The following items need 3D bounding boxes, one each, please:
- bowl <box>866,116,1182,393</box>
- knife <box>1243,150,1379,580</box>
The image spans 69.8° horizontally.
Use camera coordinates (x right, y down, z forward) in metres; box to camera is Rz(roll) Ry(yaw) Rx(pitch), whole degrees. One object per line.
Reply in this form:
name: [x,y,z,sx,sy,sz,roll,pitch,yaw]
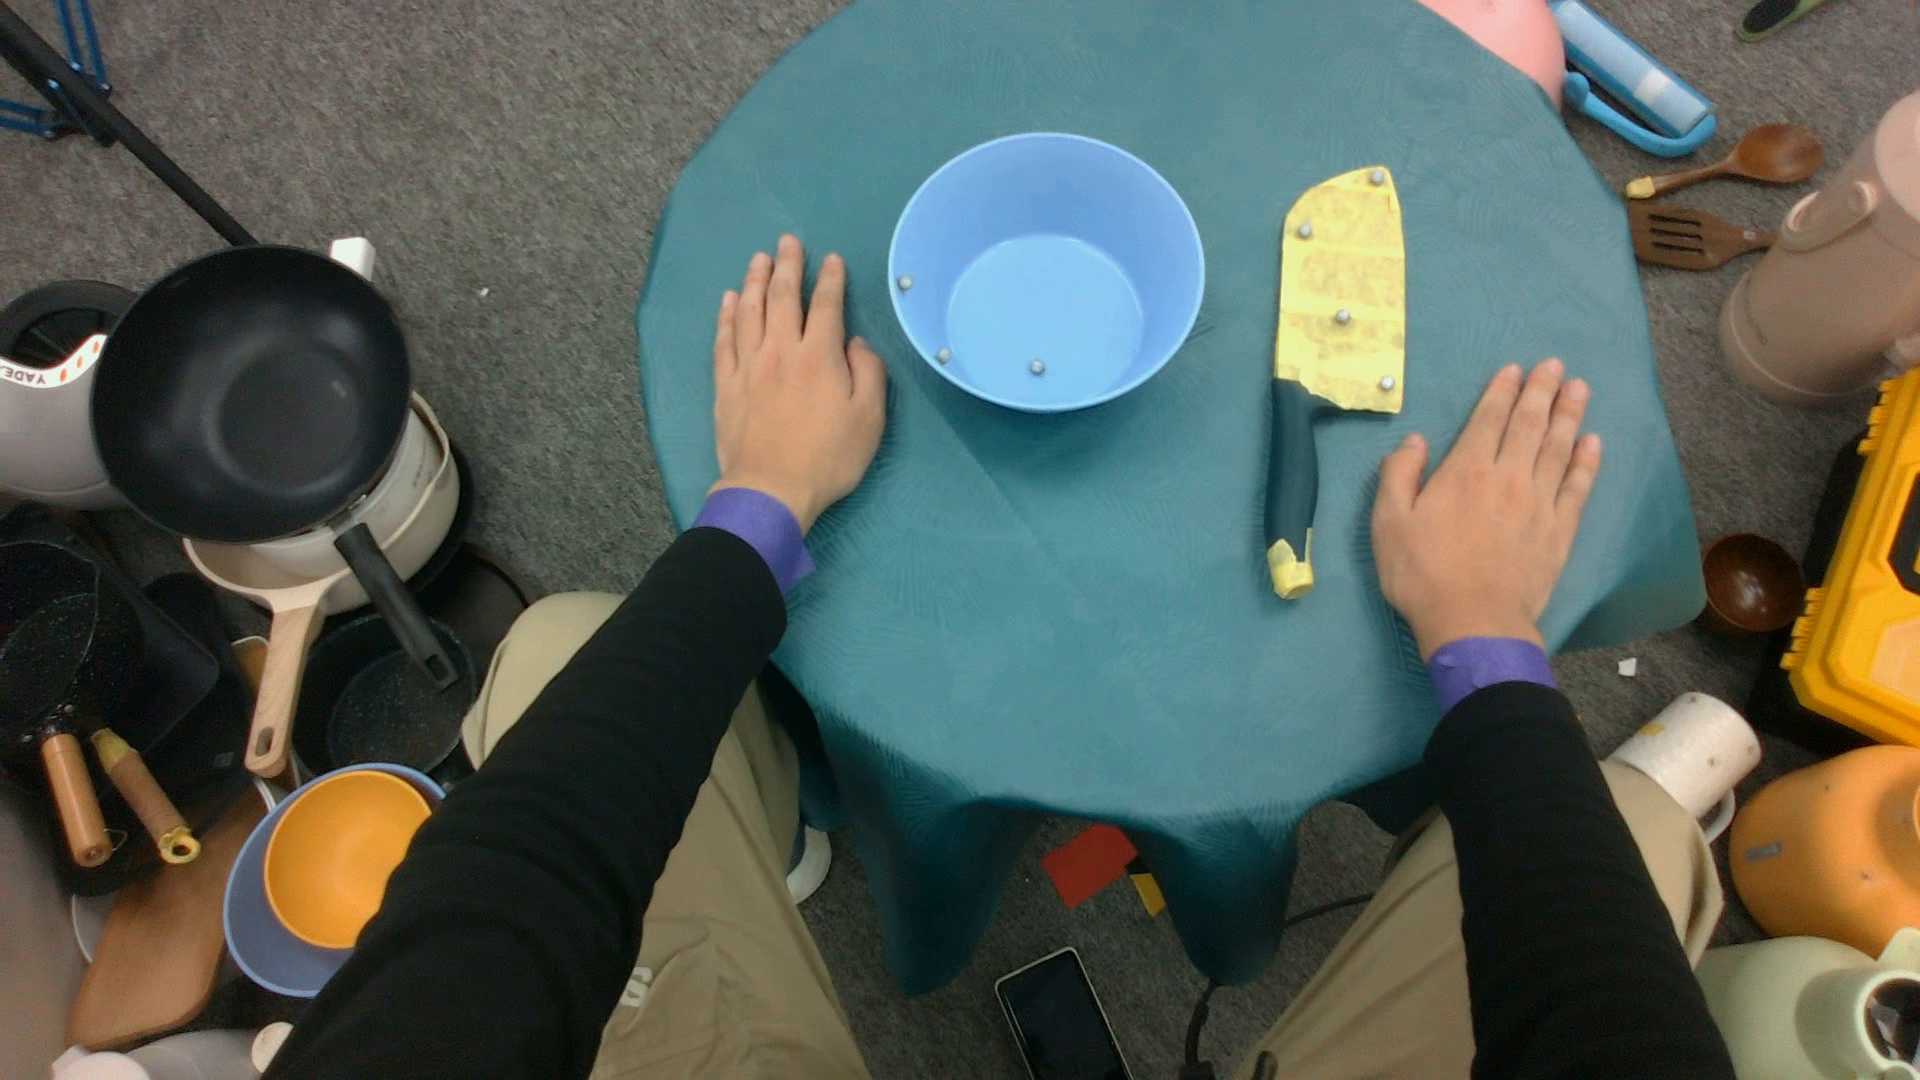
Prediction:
bowl: [0.036,-0.151,0.793,0.176,0.070,0.176,0,69,1]
knife: [0.203,-0.110,0.803,0.081,0.027,0.290,9,69,6]
